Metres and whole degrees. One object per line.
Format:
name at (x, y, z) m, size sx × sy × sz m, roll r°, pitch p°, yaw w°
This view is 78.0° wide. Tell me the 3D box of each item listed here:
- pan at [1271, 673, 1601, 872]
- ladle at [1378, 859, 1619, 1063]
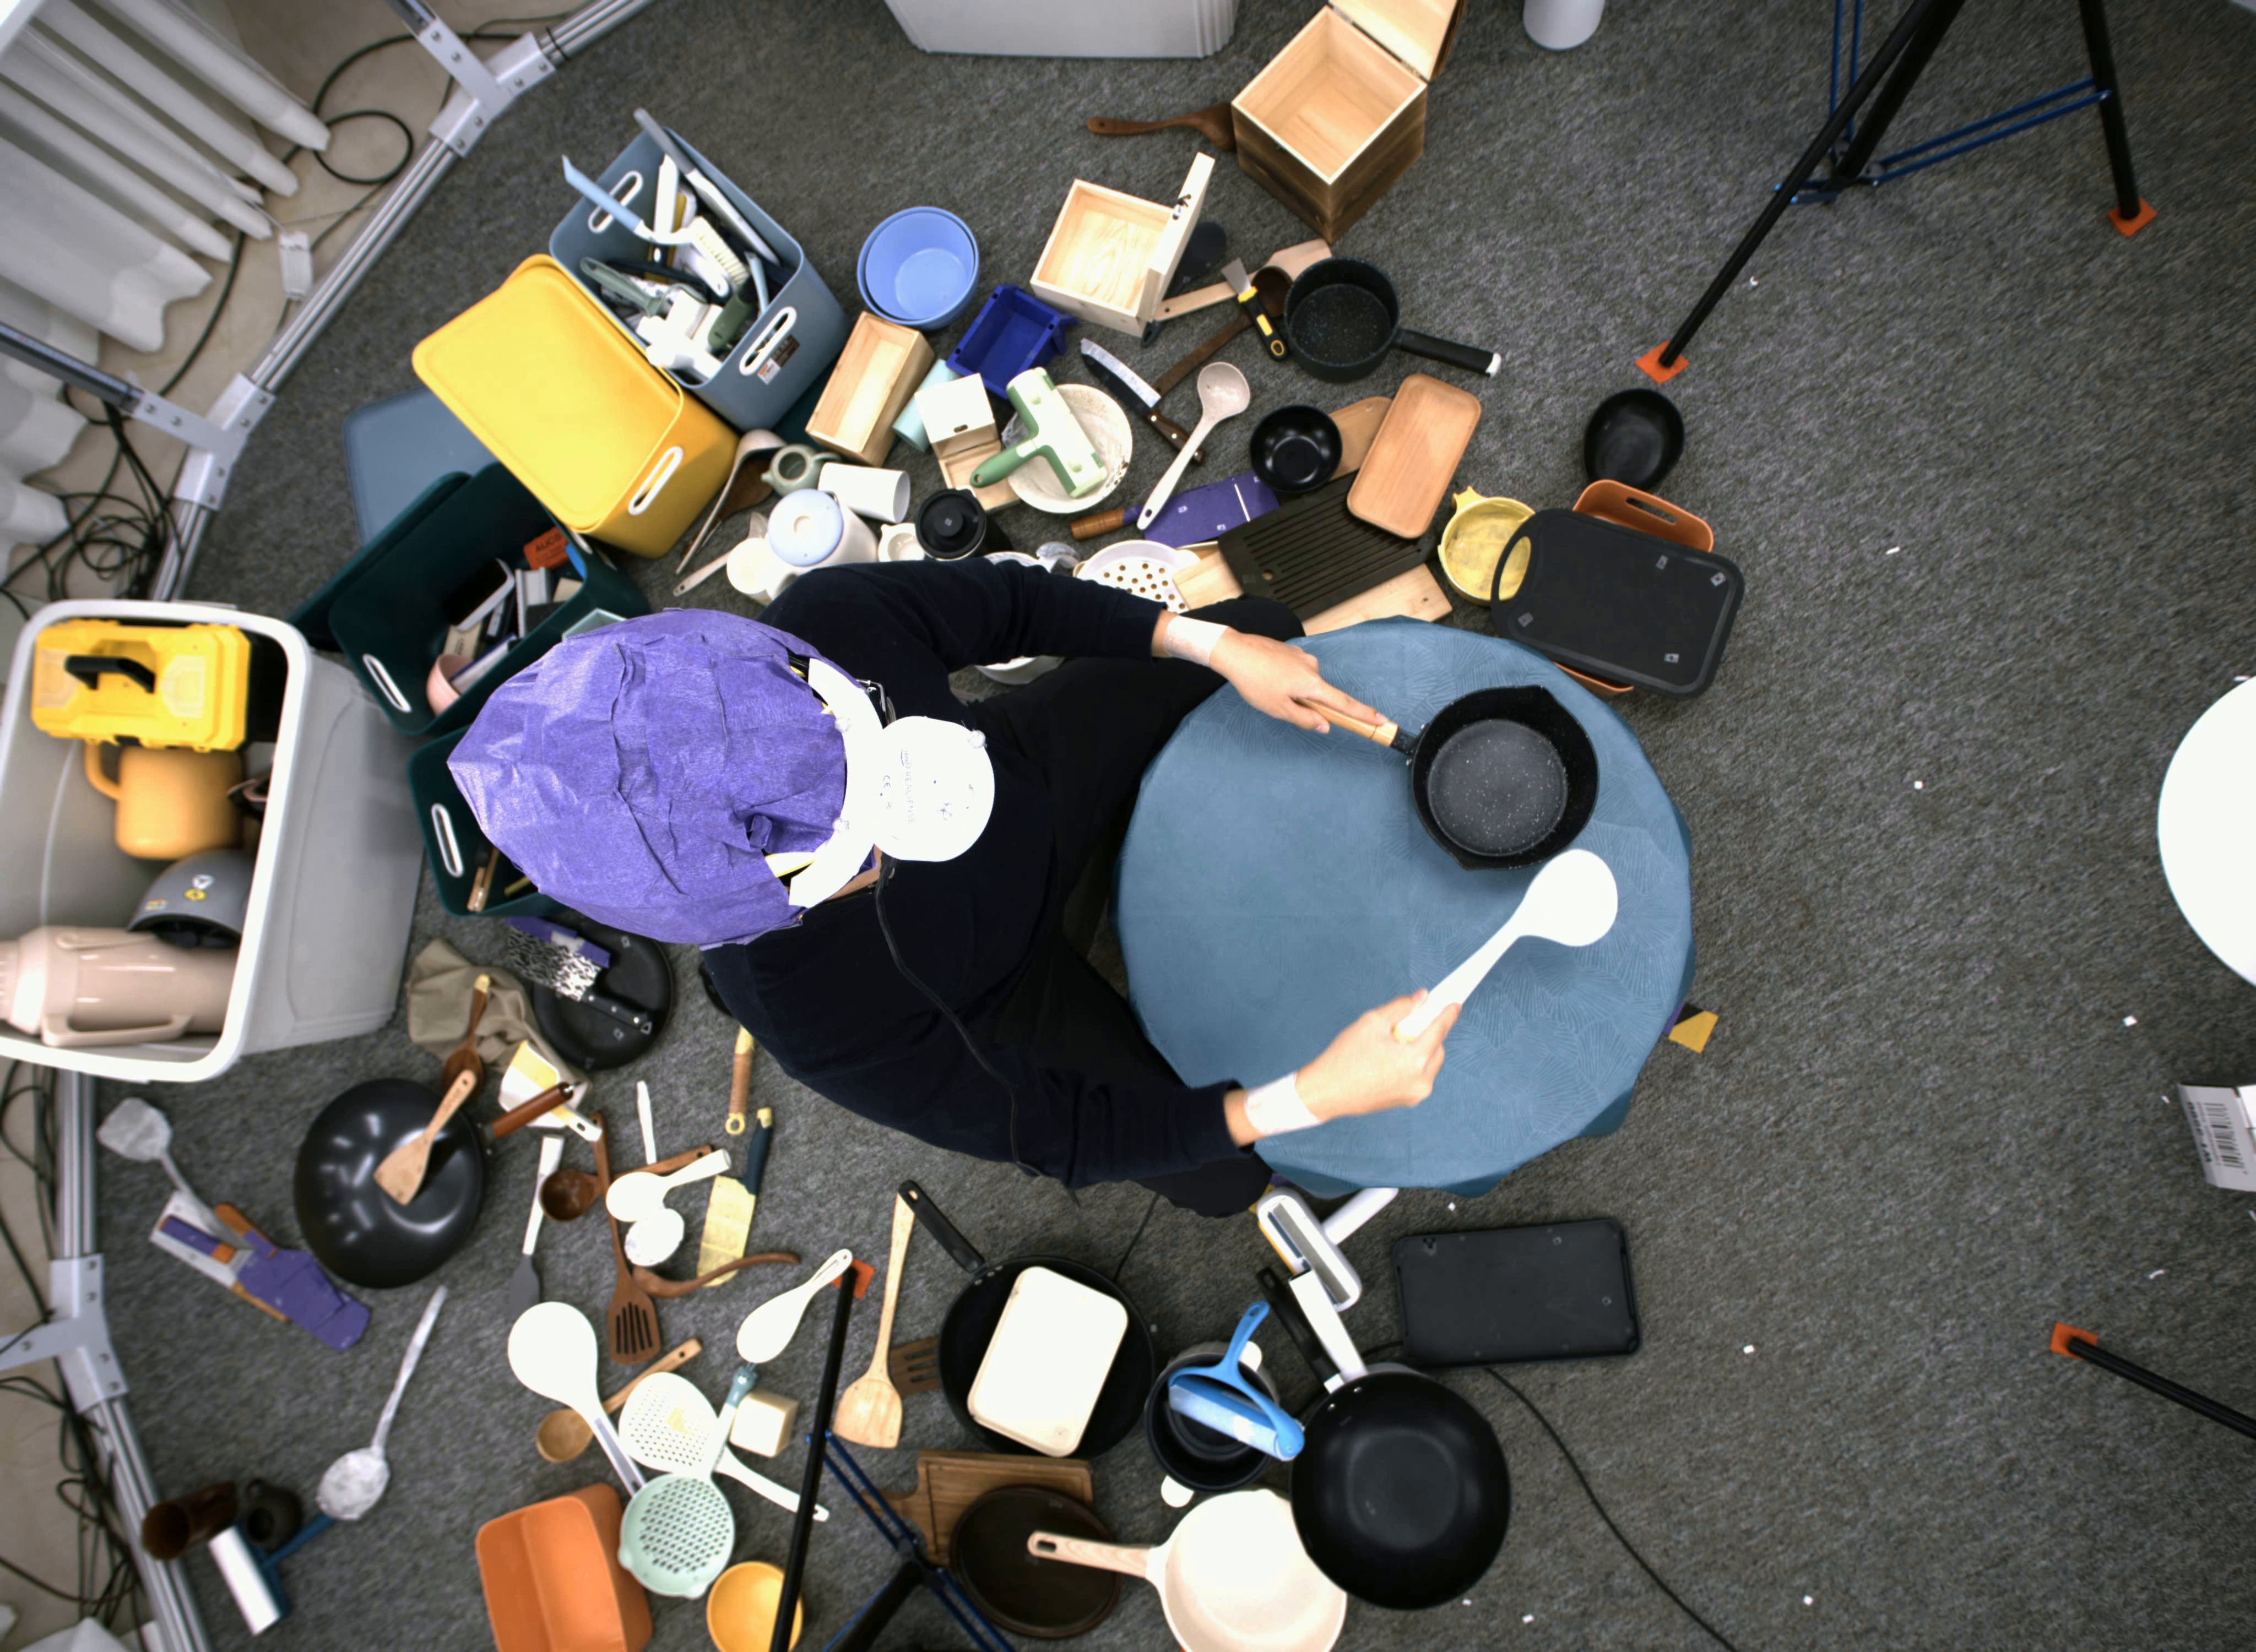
pan at (0.307, -0.076, 1.406) m, size 0.343 × 0.108 × 0.207 m, roll 21°, pitch 91°, yaw 9°
ladle at (0.341, 0.123, 1.248) m, size 0.288 × 0.070 × 0.091 m, roll -34°, pitch 117°, yaw -31°
